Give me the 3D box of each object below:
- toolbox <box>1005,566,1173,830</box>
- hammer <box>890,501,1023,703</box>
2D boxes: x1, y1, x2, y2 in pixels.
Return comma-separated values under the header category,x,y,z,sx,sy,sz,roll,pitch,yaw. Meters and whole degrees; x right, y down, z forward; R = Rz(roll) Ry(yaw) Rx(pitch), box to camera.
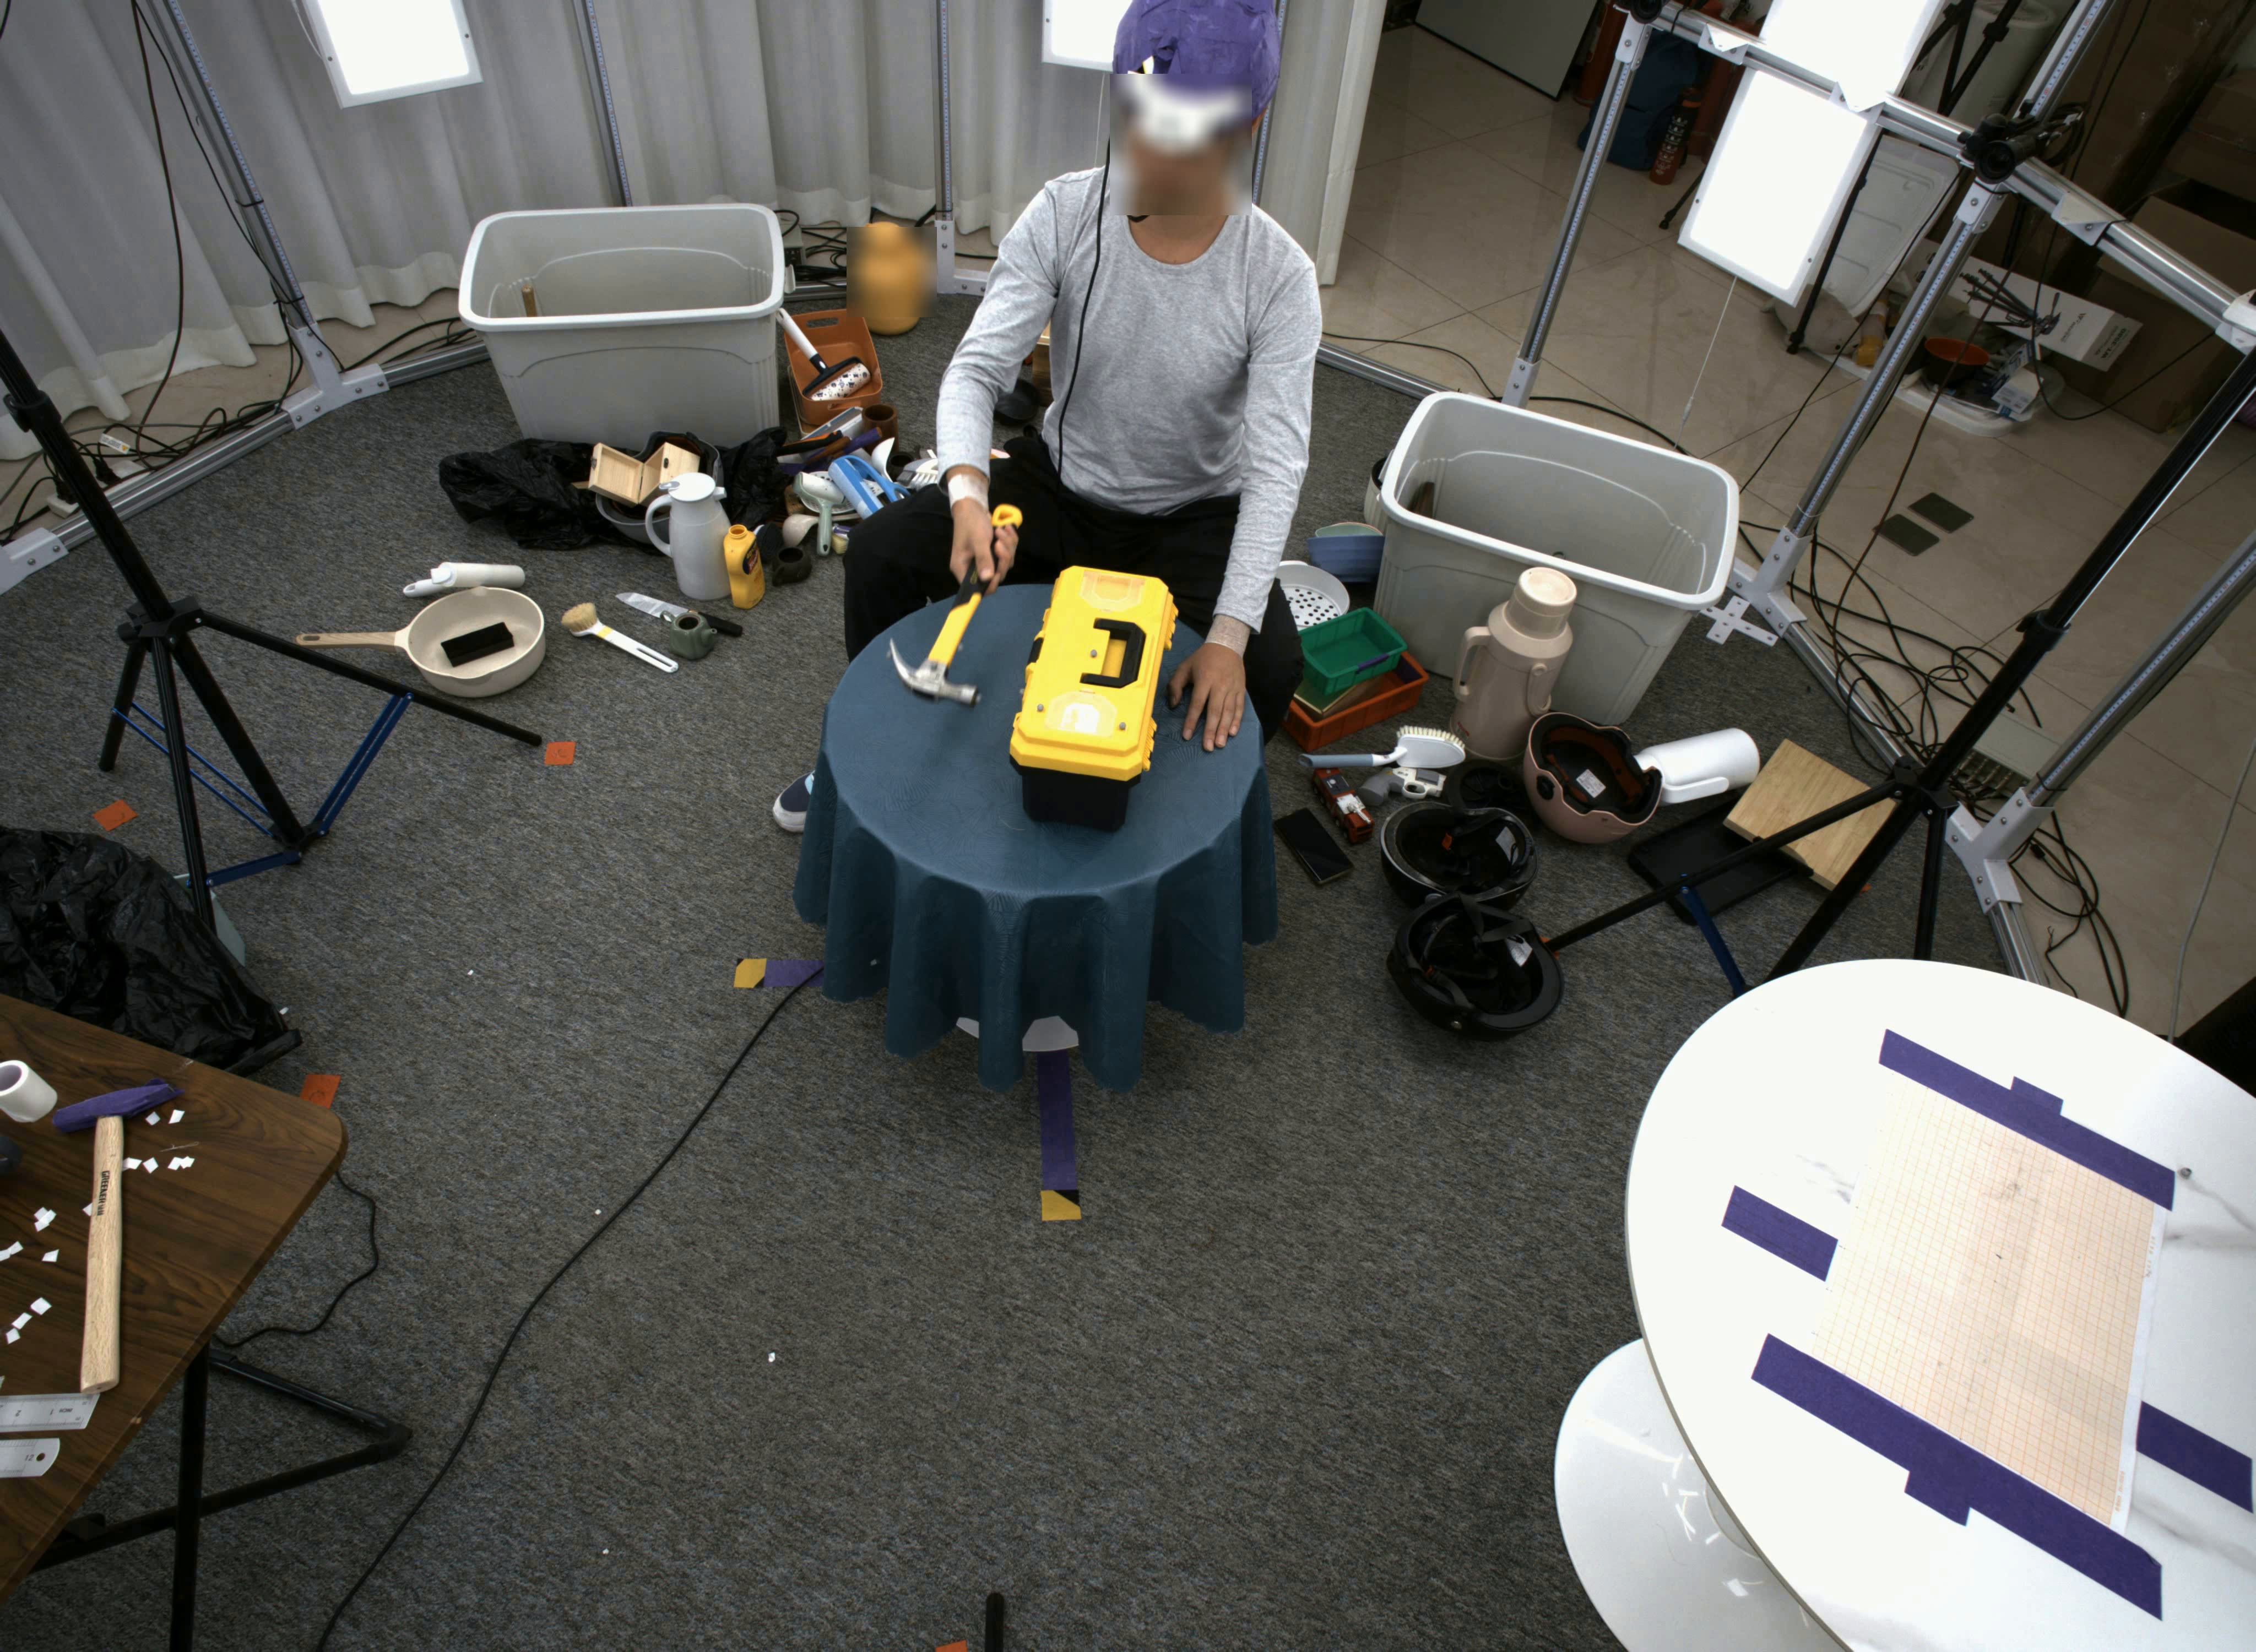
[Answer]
category,x,y,z,sx,sy,sz,roll,pitch,yaw
toolbox,-0.046,-0.173,1.712,0.181,0.168,0.360,9,49,3
hammer,-0.210,-0.311,1.717,0.131,0.031,0.345,15,57,7
